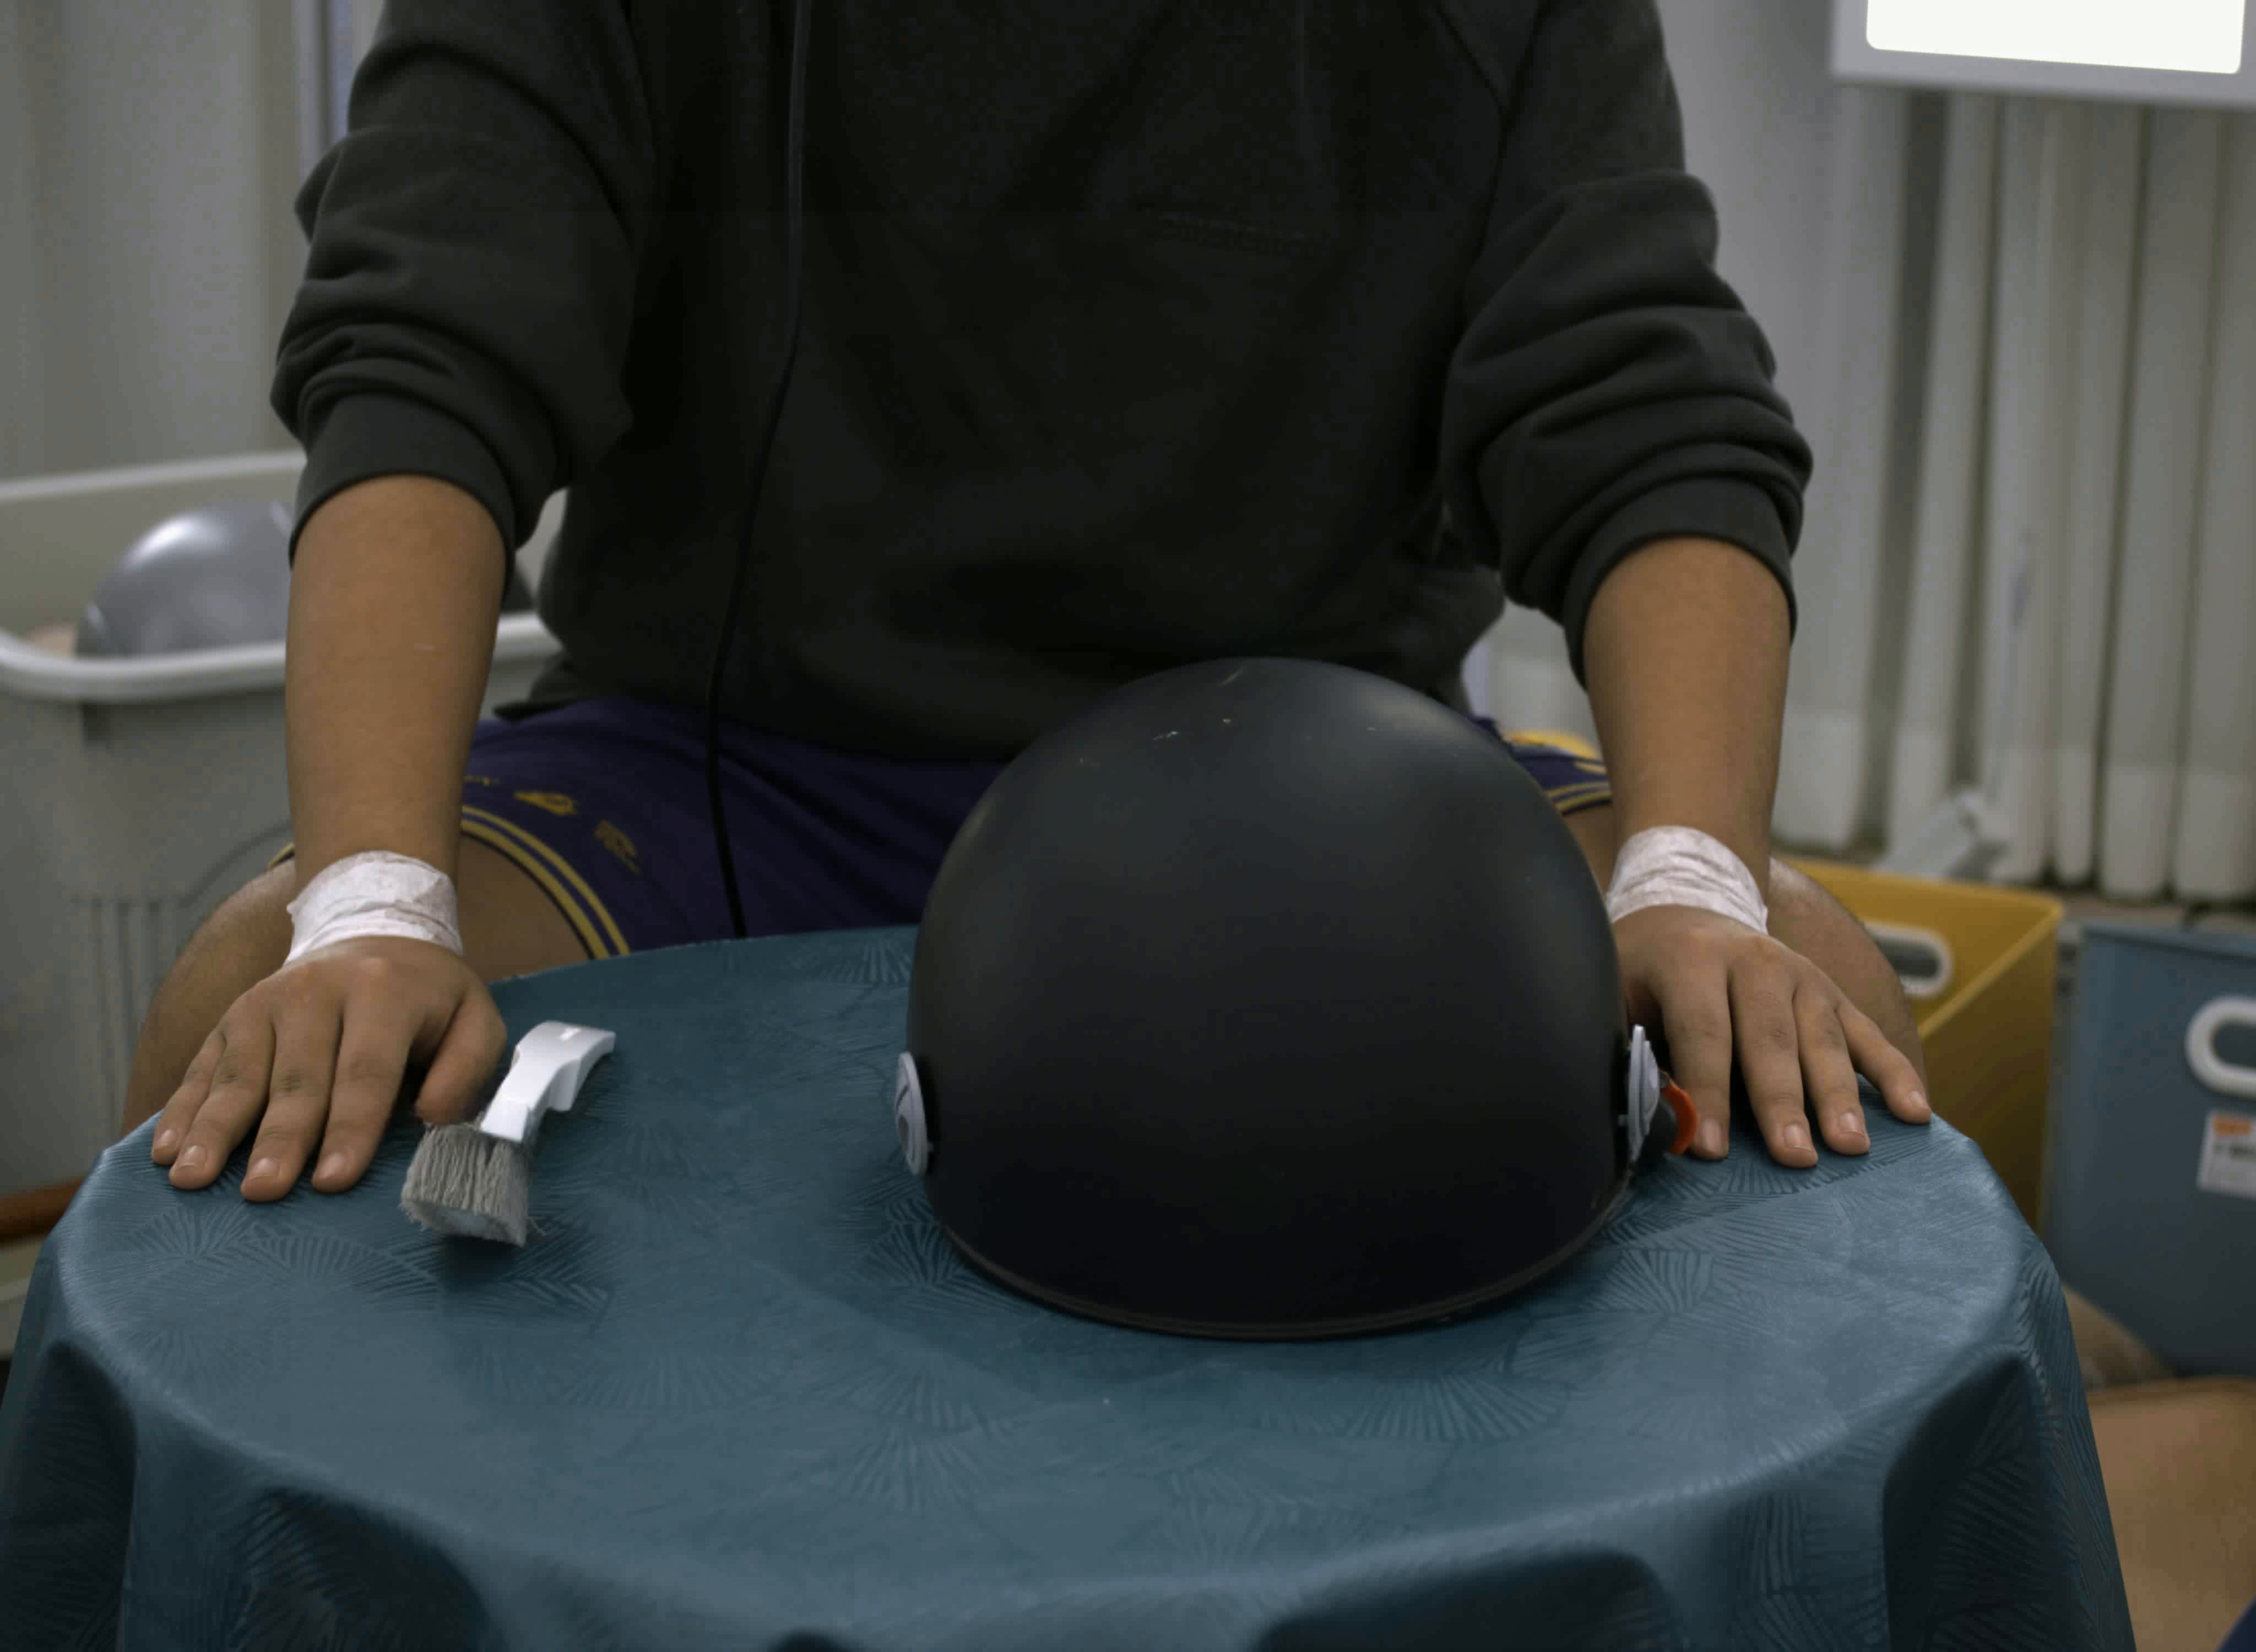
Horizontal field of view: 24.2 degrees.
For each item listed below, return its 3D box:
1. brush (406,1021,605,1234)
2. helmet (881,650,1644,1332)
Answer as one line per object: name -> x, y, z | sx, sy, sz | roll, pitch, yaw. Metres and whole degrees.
brush -> -0.191, 0.094, 1.638 | 0.034, 0.050, 0.243 | 9, 3, 1
helmet -> 0.040, 0.037, 1.602 | 0.229, 0.168, 0.271 | -2, 18, 2
